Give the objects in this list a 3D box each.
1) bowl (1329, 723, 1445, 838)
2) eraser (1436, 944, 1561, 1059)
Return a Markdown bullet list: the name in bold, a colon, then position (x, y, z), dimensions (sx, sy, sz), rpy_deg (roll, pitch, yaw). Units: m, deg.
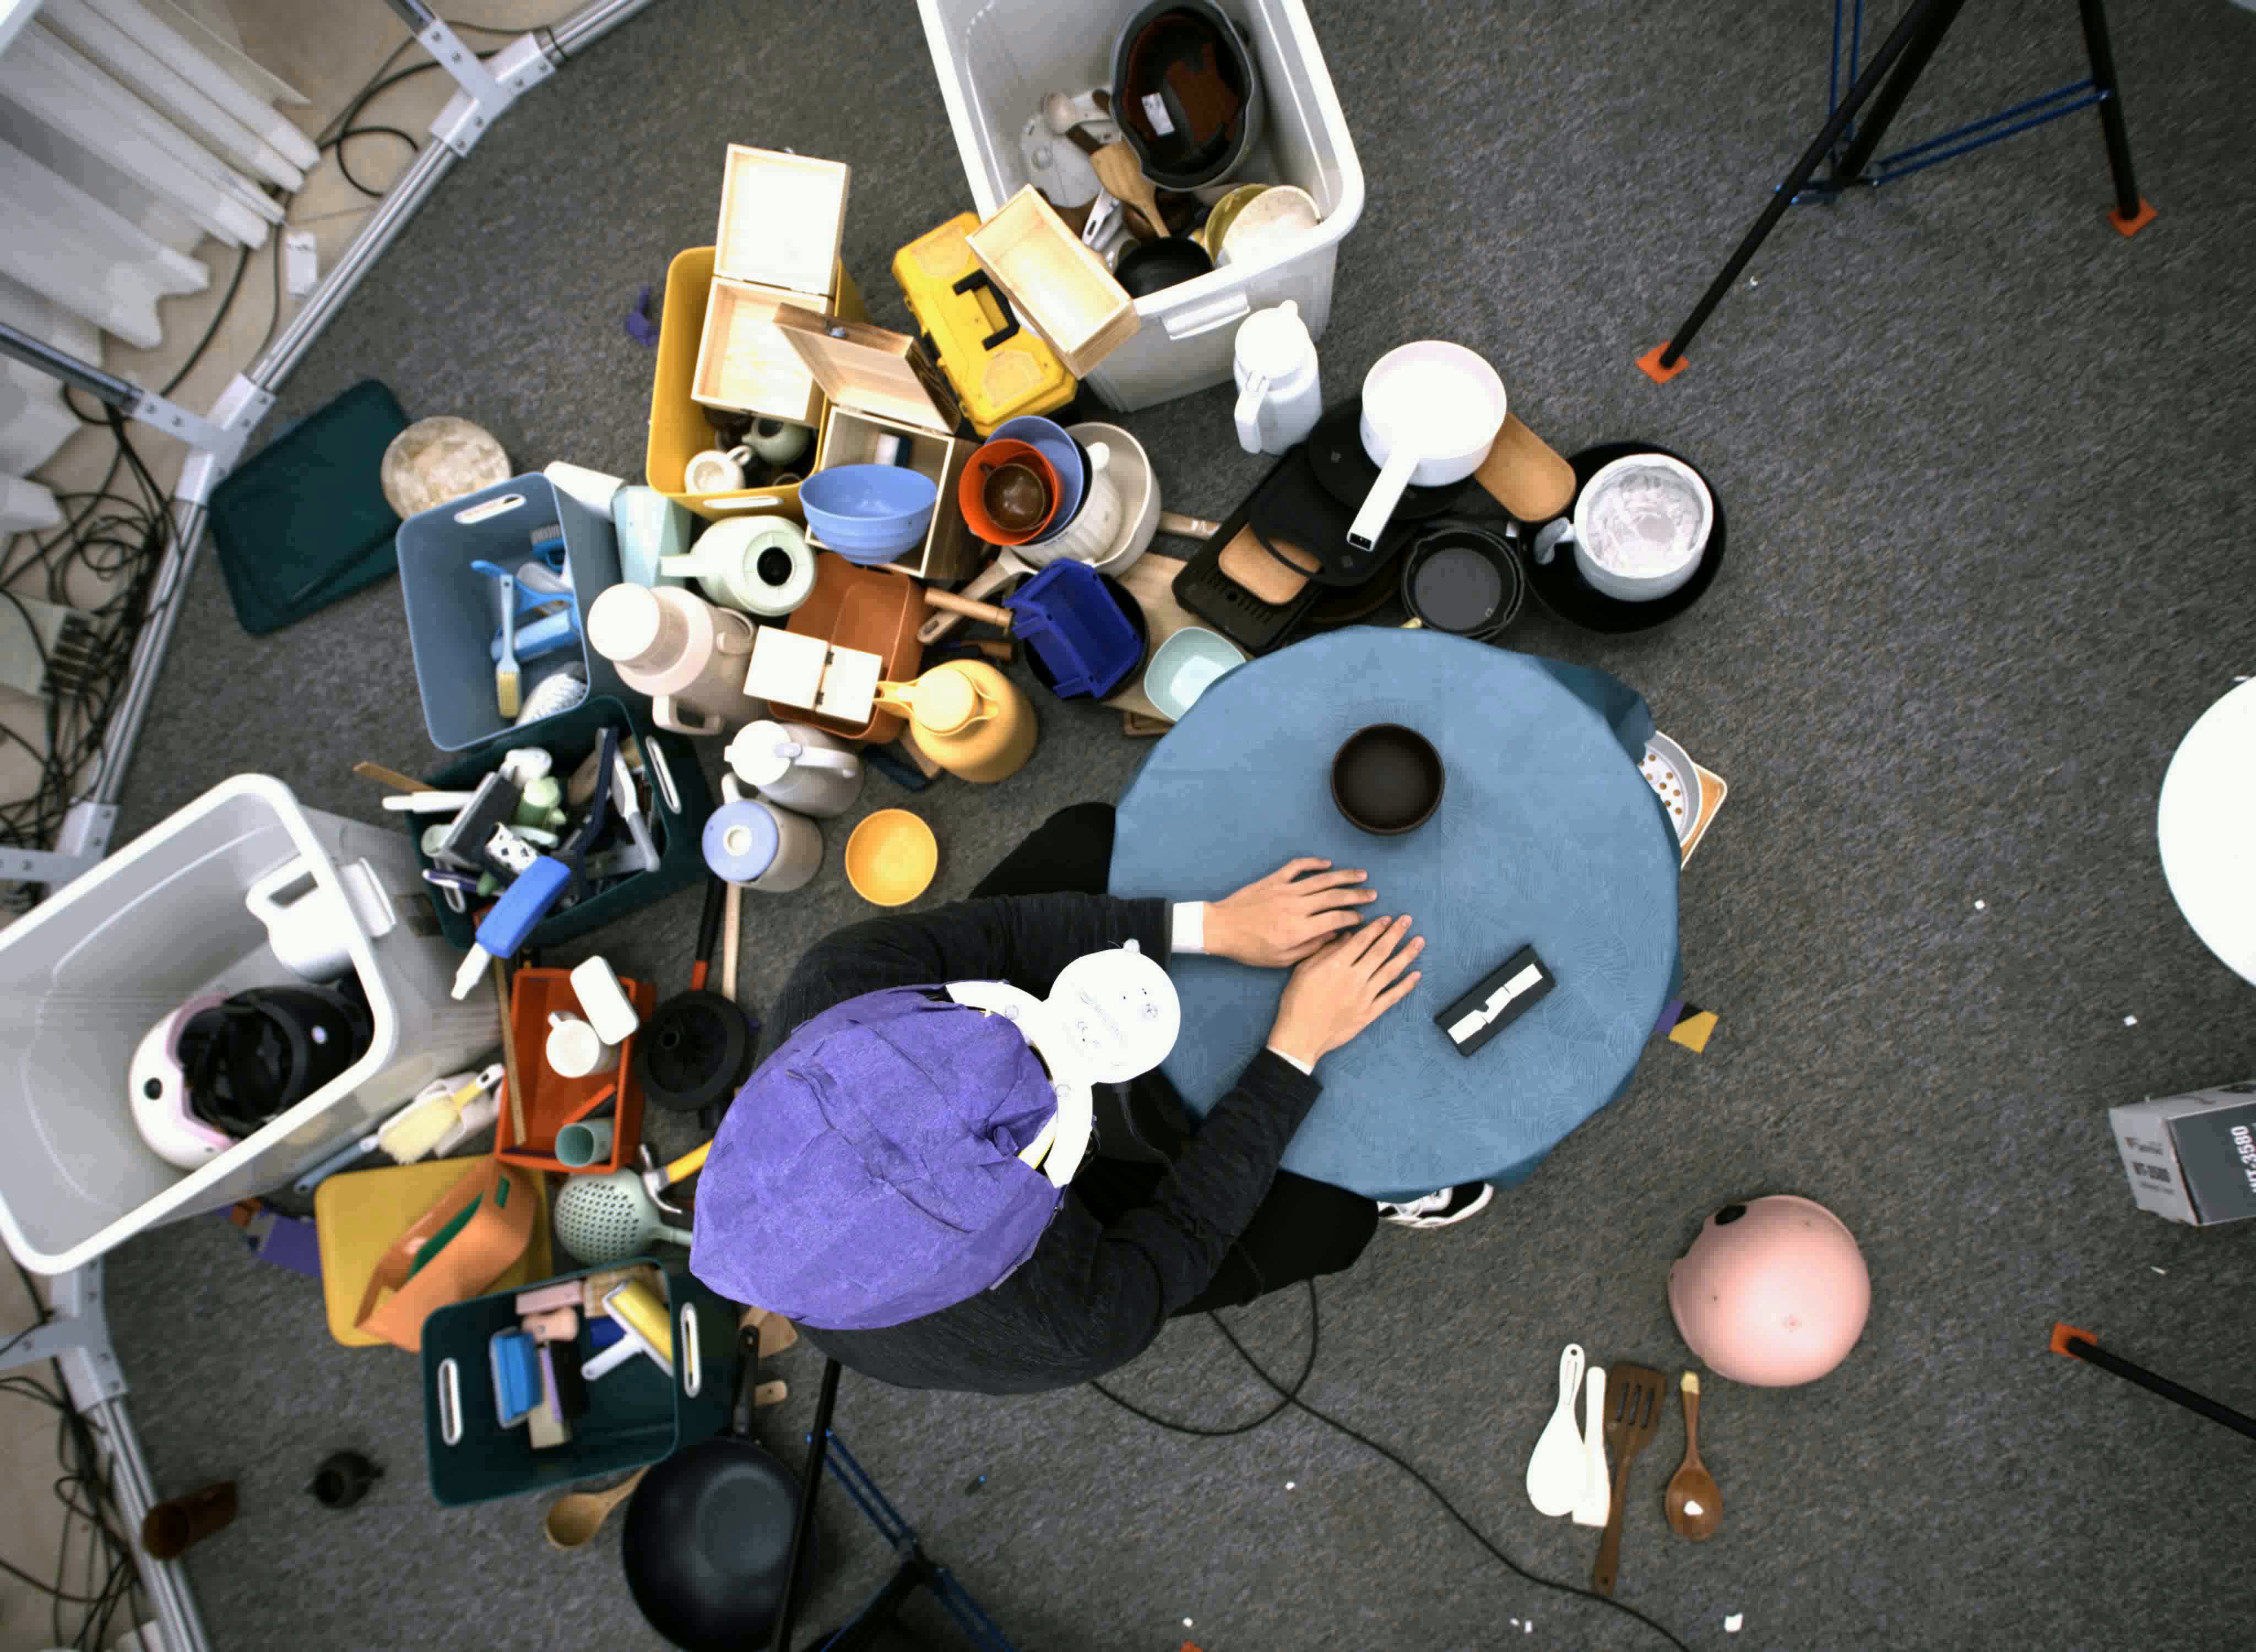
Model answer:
- **bowl**: position (0.269, -0.047, 1.431), dimensions (0.118, 0.070, 0.117), rpy_deg (-1, 87, 11)
- **eraser**: position (0.381, 0.178, 1.419), dimensions (0.126, 0.030, 0.053), rpy_deg (-41, 77, 6)
